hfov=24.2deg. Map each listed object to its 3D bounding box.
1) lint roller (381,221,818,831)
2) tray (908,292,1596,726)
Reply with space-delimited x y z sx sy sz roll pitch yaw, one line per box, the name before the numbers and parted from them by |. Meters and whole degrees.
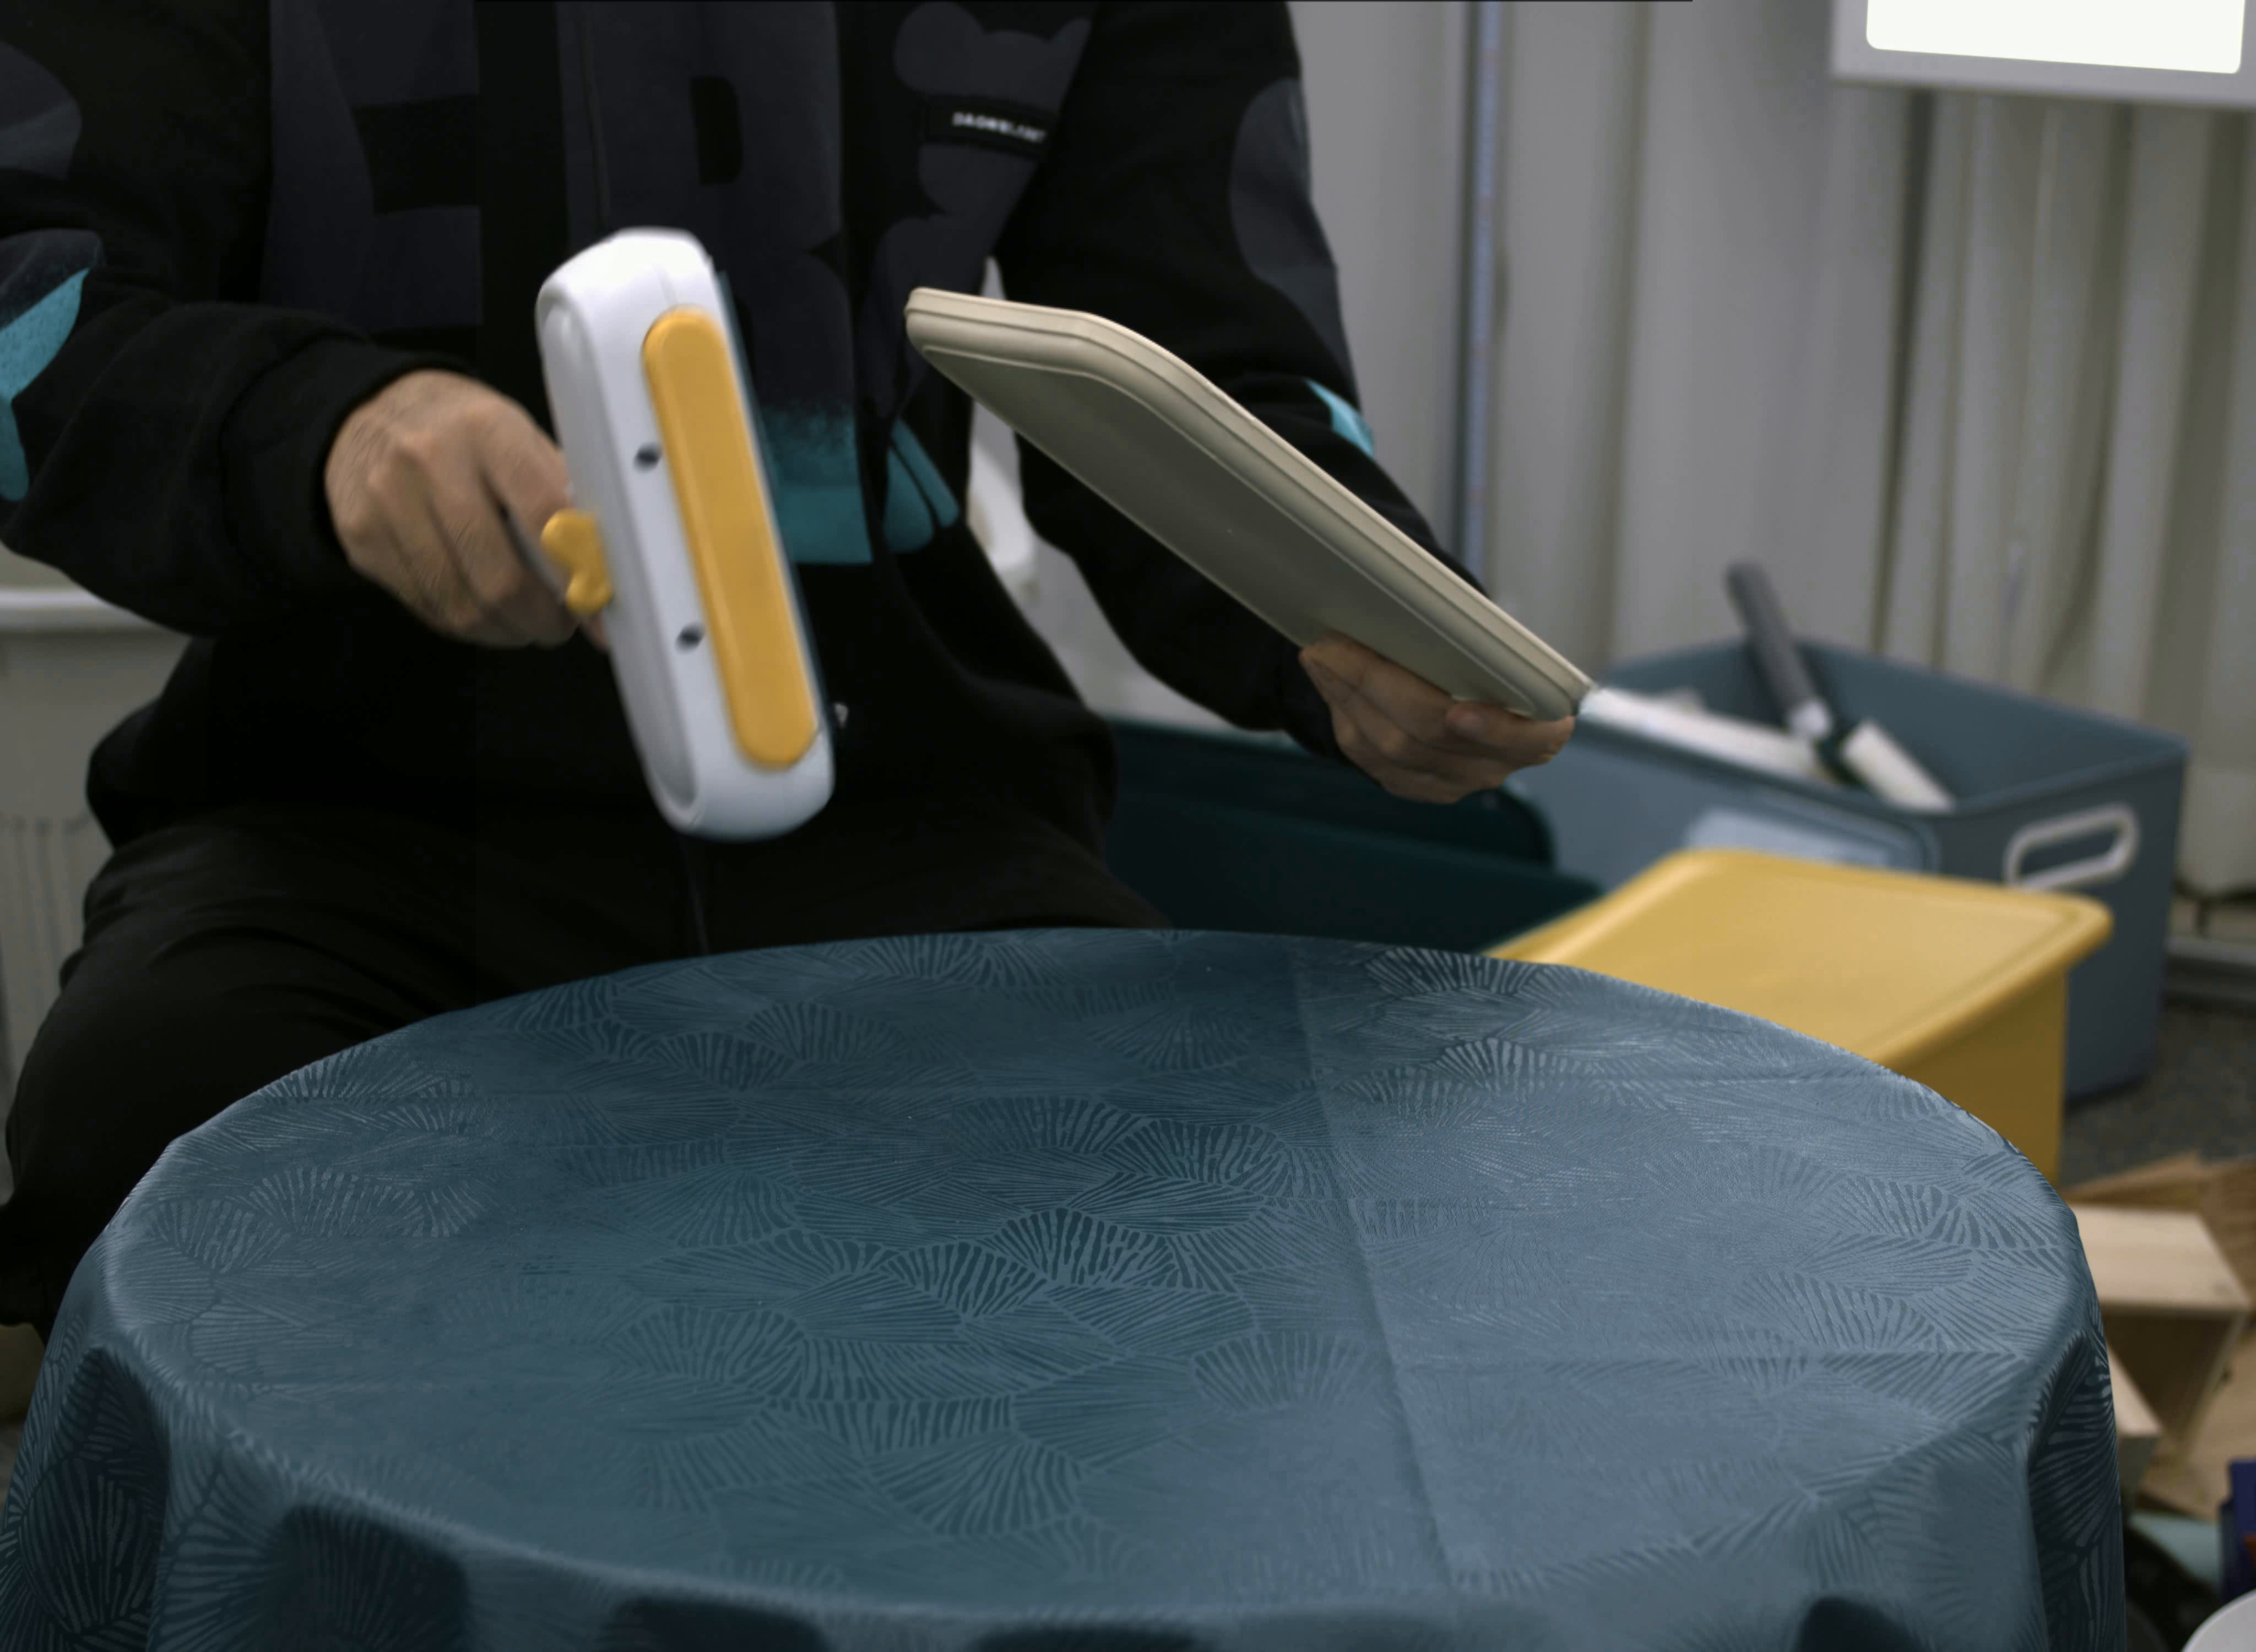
lint roller | -0.178 -0.089 1.681 0.074 0.194 0.190 -24 12 -28
tray | 0.040 -0.104 1.775 0.242 0.017 0.169 36 -11 -31
